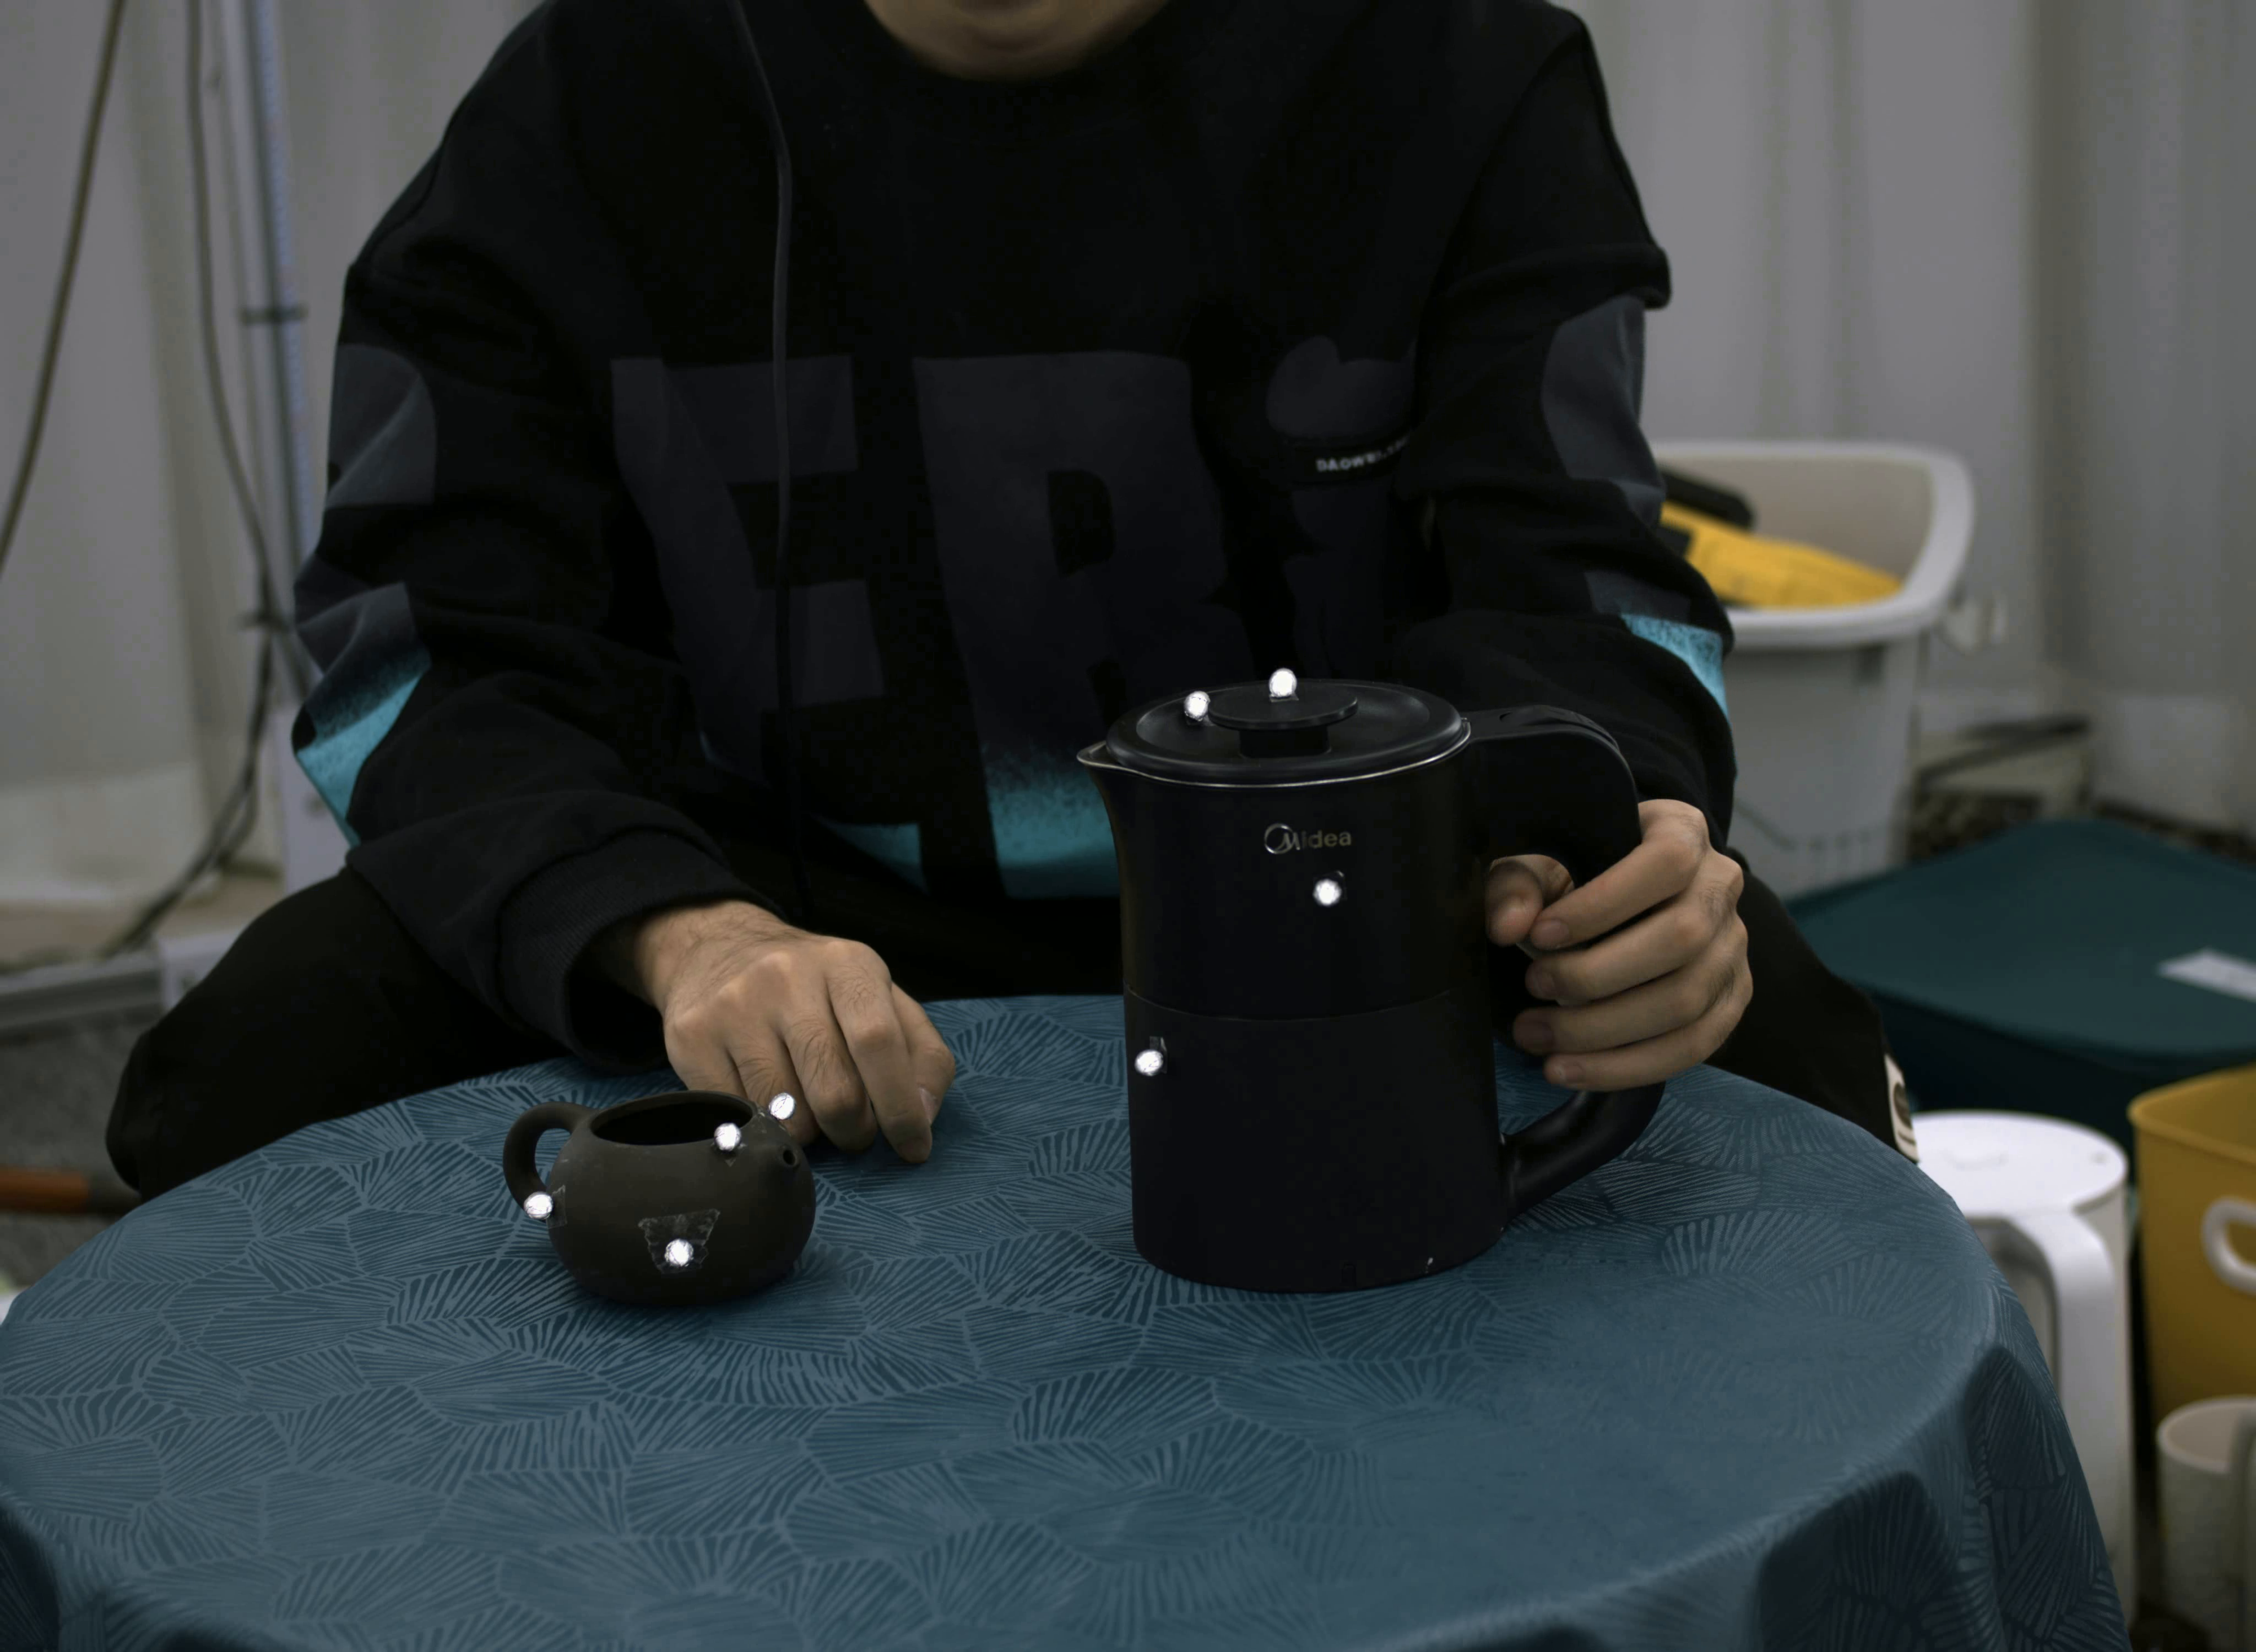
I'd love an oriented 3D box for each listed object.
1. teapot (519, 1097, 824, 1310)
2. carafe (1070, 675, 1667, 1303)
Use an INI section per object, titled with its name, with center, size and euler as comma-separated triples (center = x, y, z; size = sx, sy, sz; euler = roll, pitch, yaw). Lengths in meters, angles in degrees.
[teapot]
center = -0.142, 0.111, 1.660
size = 0.115, 0.053, 0.083
euler = 13, 20, 38
[carafe]
center = 0.074, 0.040, 1.650
size = 0.171, 0.173, 0.115
euler = -7, 13, -6
